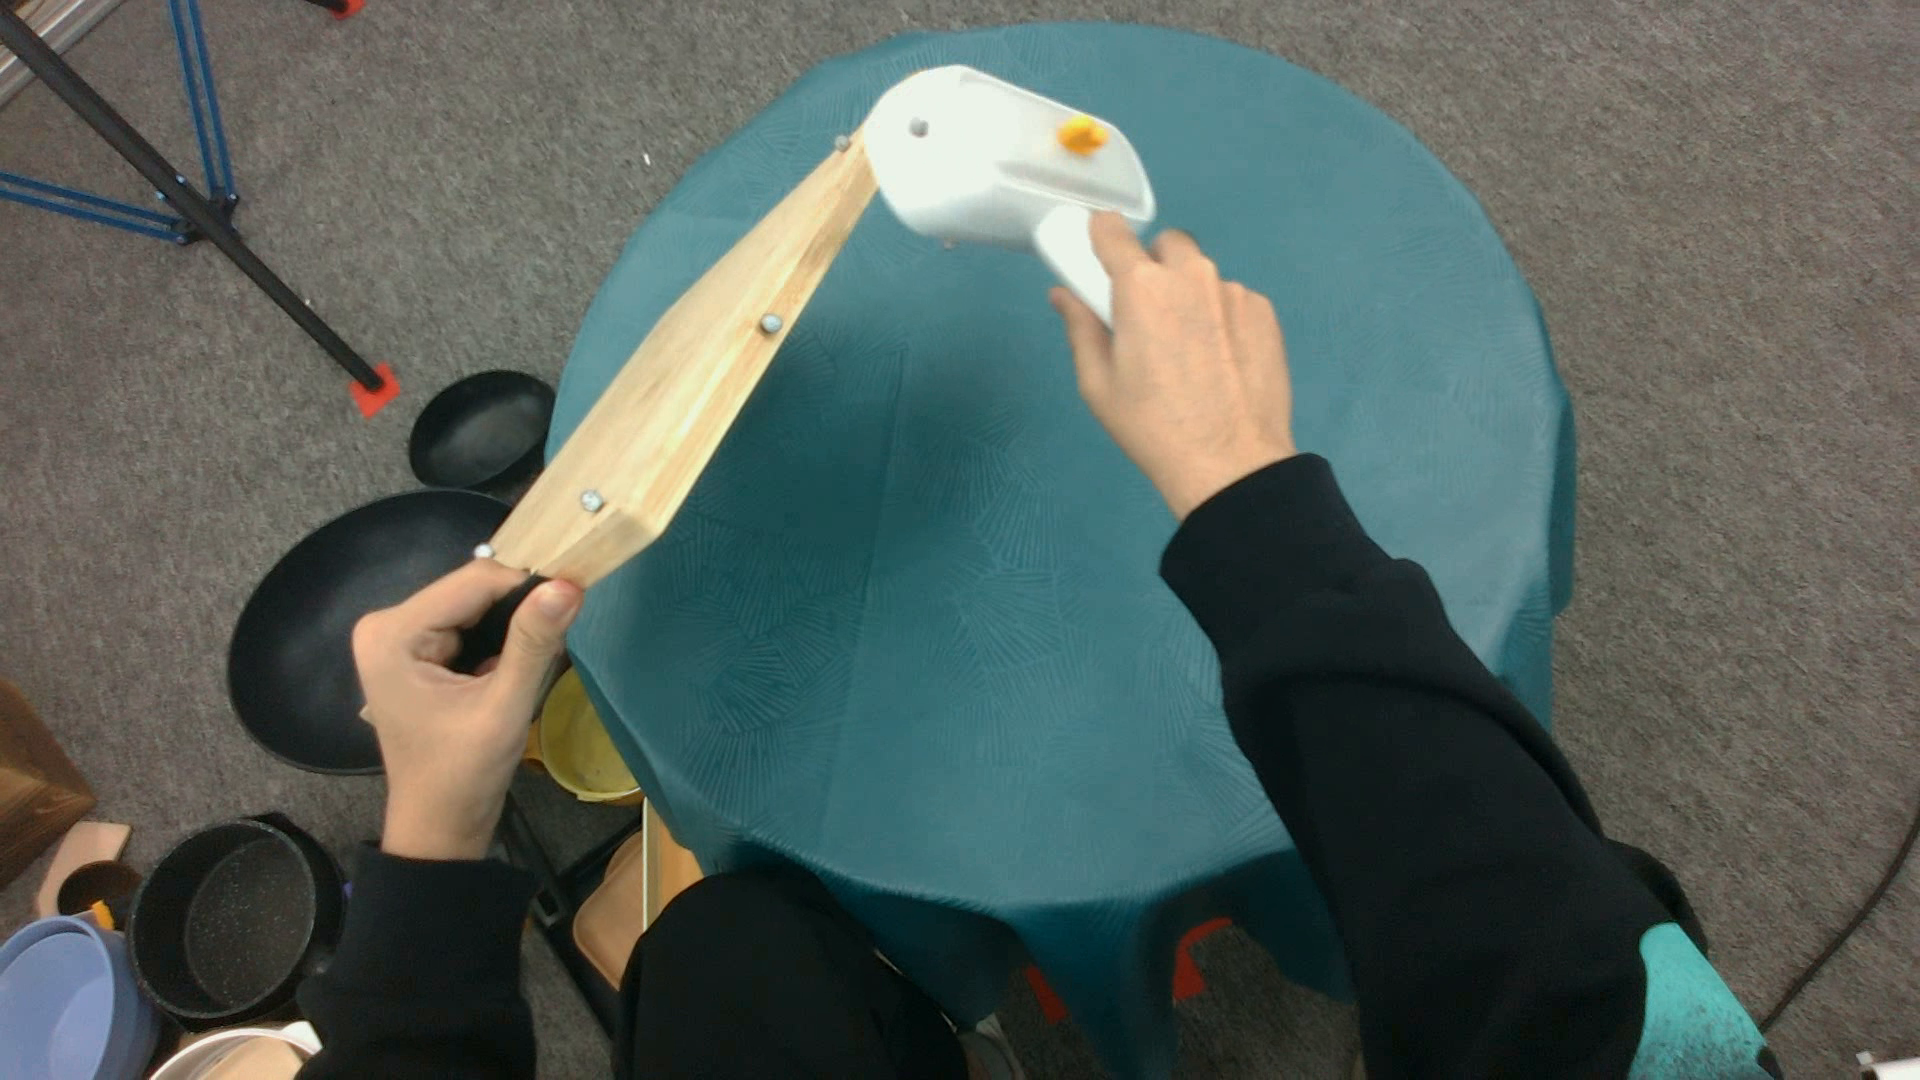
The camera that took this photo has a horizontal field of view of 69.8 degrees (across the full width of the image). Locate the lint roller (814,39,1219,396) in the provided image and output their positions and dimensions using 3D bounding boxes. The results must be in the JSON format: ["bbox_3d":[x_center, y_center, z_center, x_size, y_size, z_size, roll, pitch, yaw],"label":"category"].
[{"bbox_3d":[0.042,-0.136,0.625,0.074,0.193,0.192,-36,81,26],"label":"lint roller"}]

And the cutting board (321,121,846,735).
[{"bbox_3d":[-0.161,-0.077,0.678,0.249,0.023,0.350,-30,27,38],"label":"cutting board"}]
